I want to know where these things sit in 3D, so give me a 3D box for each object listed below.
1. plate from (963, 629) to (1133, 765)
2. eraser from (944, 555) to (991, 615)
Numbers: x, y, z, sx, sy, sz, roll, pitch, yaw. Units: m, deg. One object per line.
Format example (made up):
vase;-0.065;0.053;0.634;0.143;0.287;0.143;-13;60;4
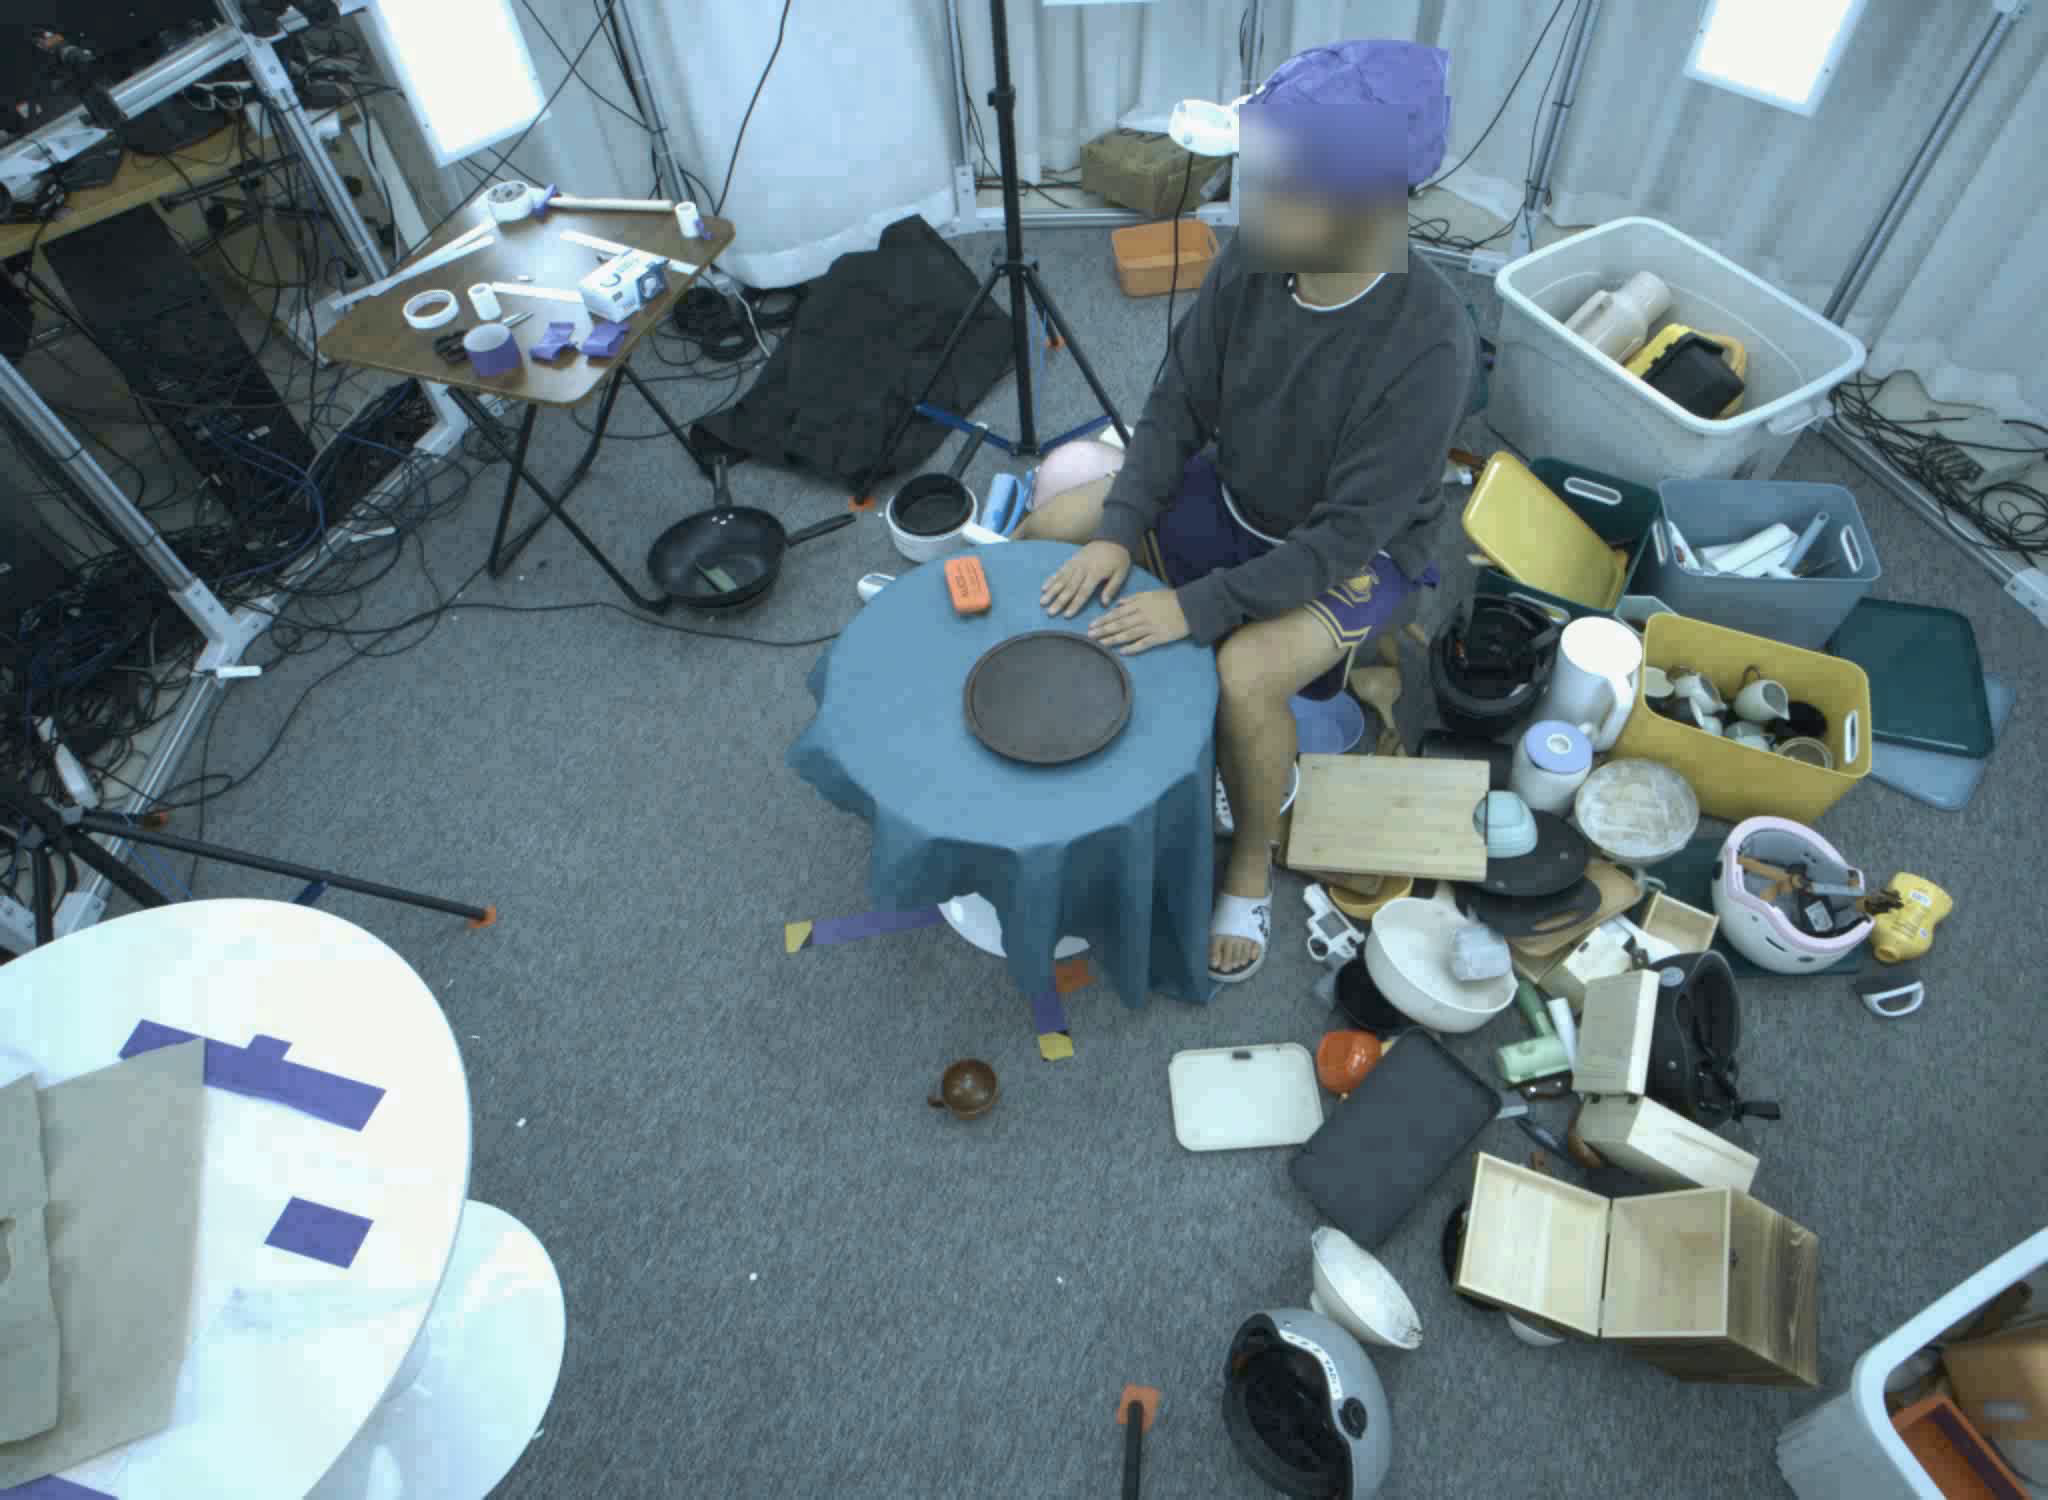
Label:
plate;0.035;-0.080;1.832;0.254;0.029;0.252;-1;54;3
eraser;-0.091;-0.266;1.963;0.059;0.023;0.106;-13;54;-6
